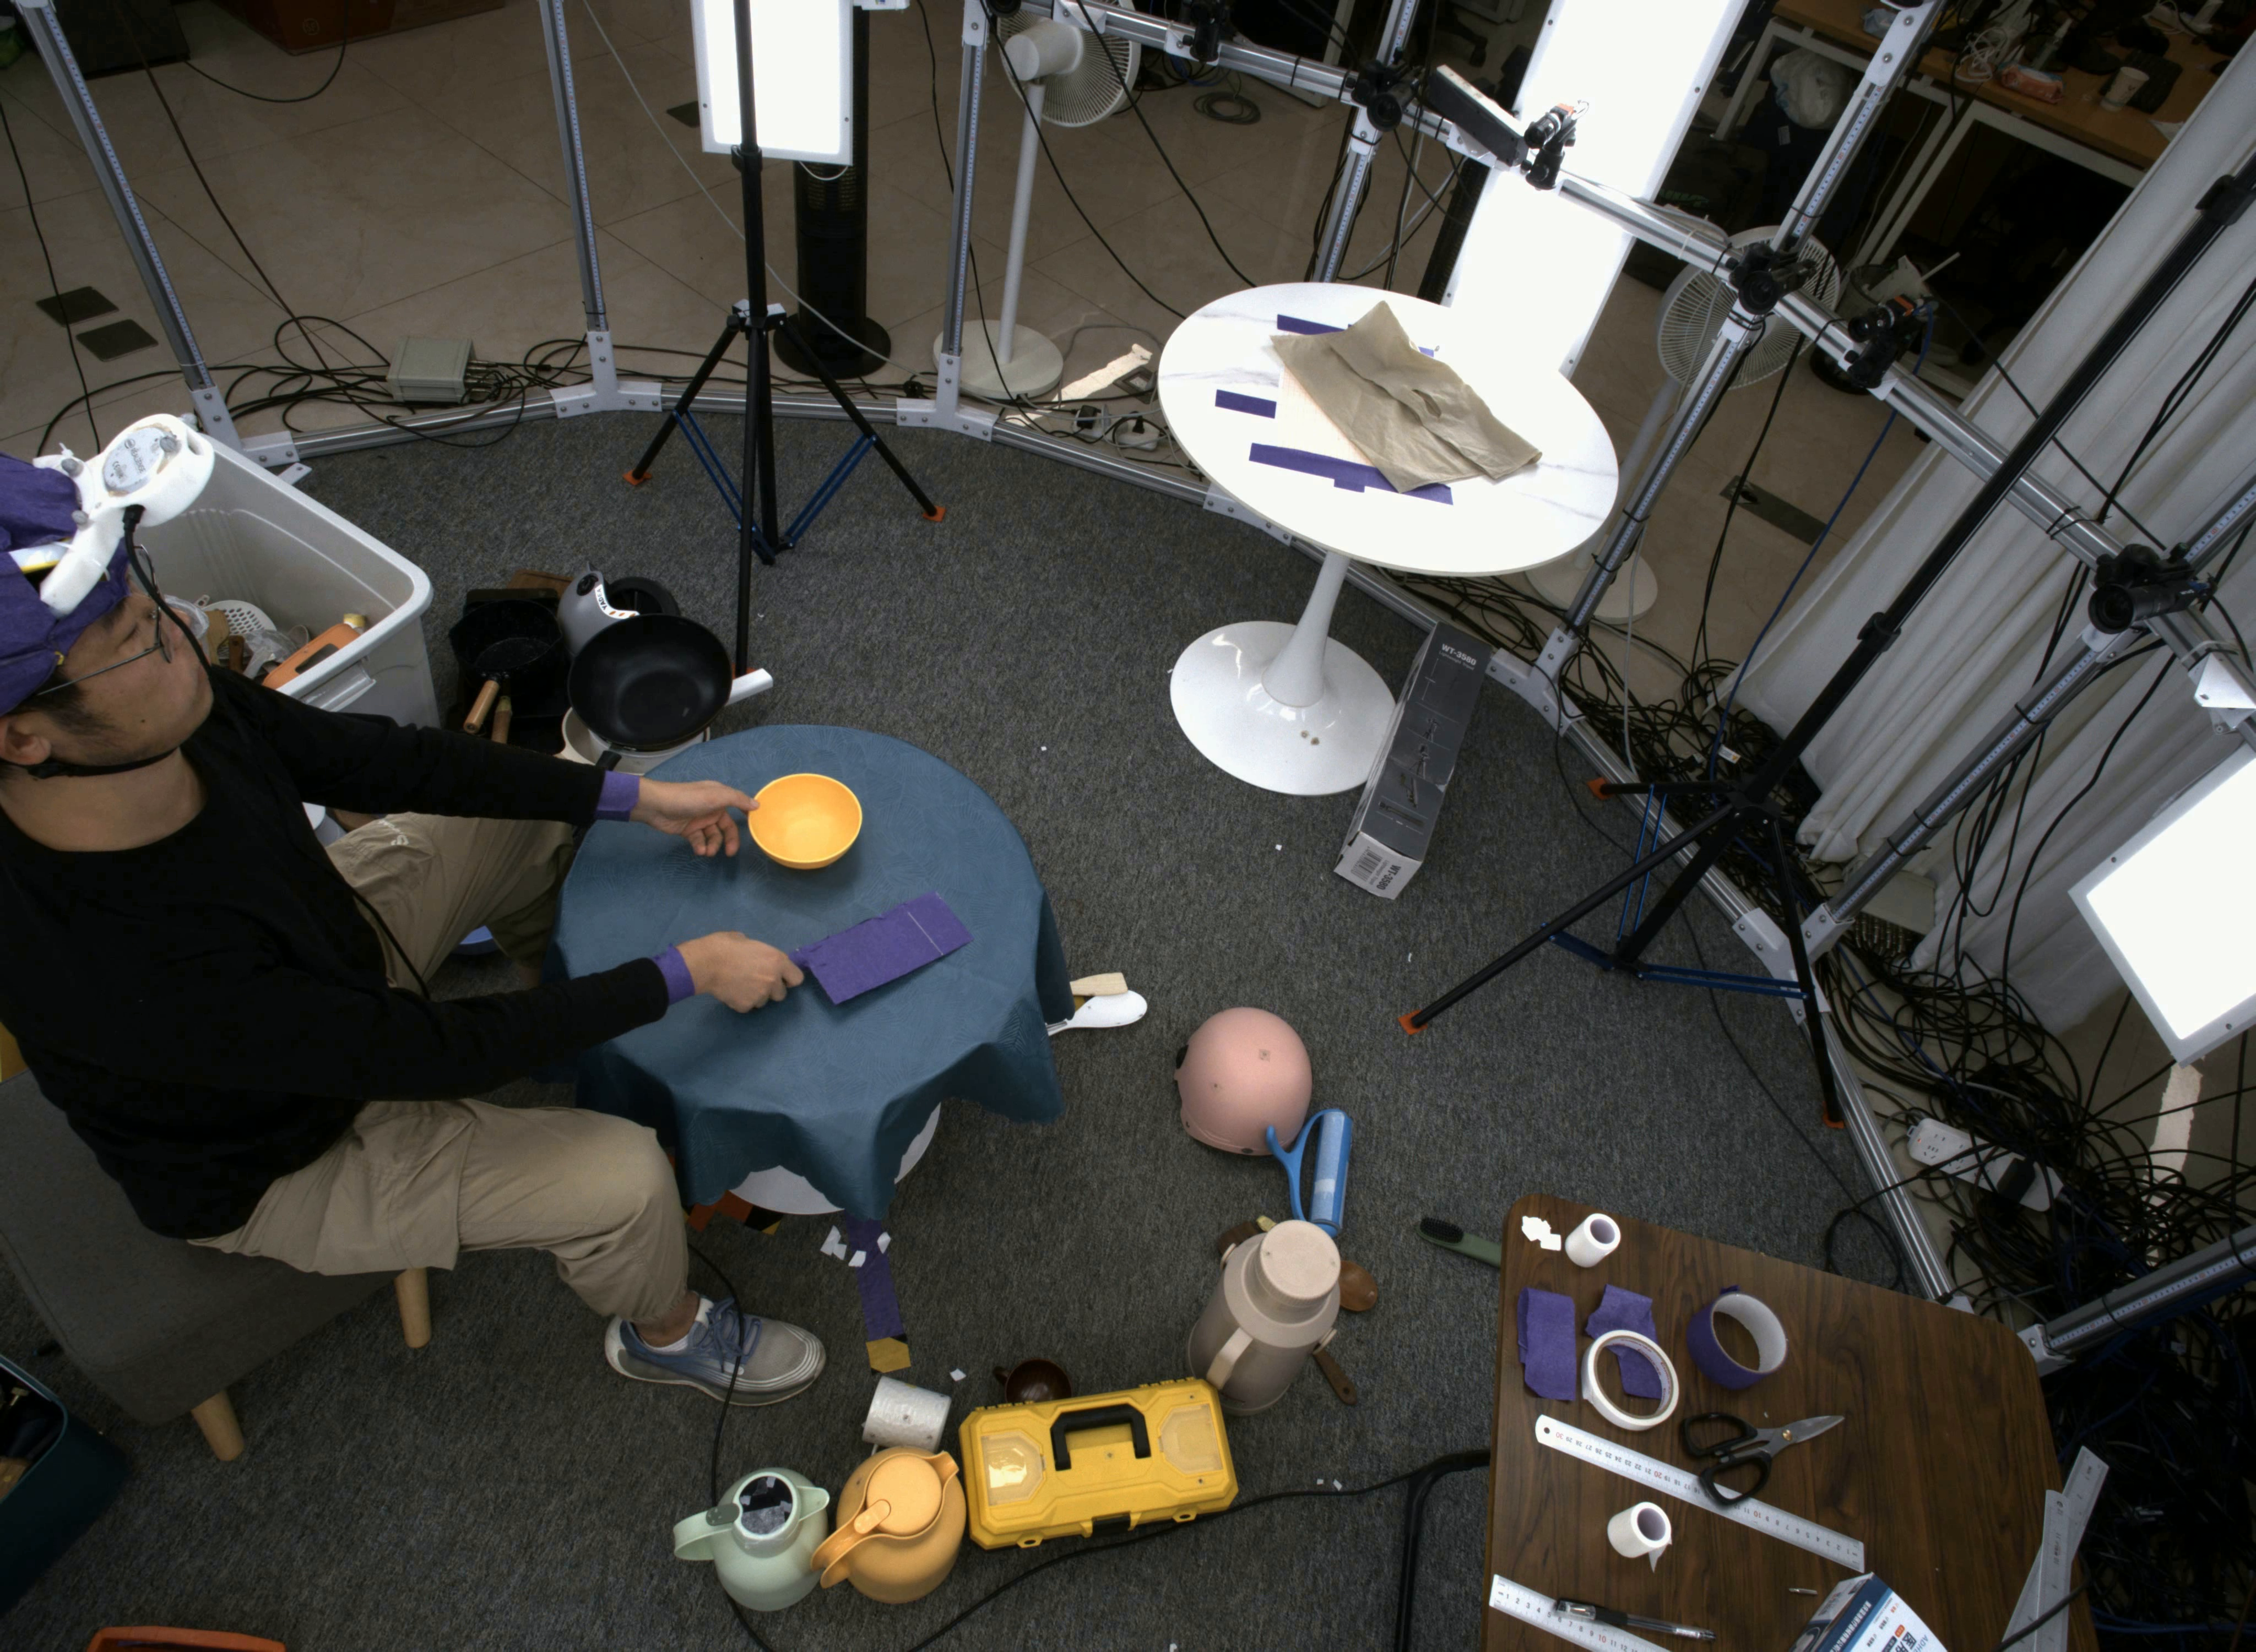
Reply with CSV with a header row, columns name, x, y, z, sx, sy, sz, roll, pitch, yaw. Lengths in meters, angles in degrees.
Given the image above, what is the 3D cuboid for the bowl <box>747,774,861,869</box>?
name,x,y,z,sx,sy,sz,roll,pitch,yaw
bowl,-0.419,0.005,1.680,0.145,0.061,0.142,8,50,-8

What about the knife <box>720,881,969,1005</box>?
name,x,y,z,sx,sy,sz,roll,pitch,yaw
knife,-0.338,0.158,1.594,0.317,0.033,0.101,-26,64,-35
